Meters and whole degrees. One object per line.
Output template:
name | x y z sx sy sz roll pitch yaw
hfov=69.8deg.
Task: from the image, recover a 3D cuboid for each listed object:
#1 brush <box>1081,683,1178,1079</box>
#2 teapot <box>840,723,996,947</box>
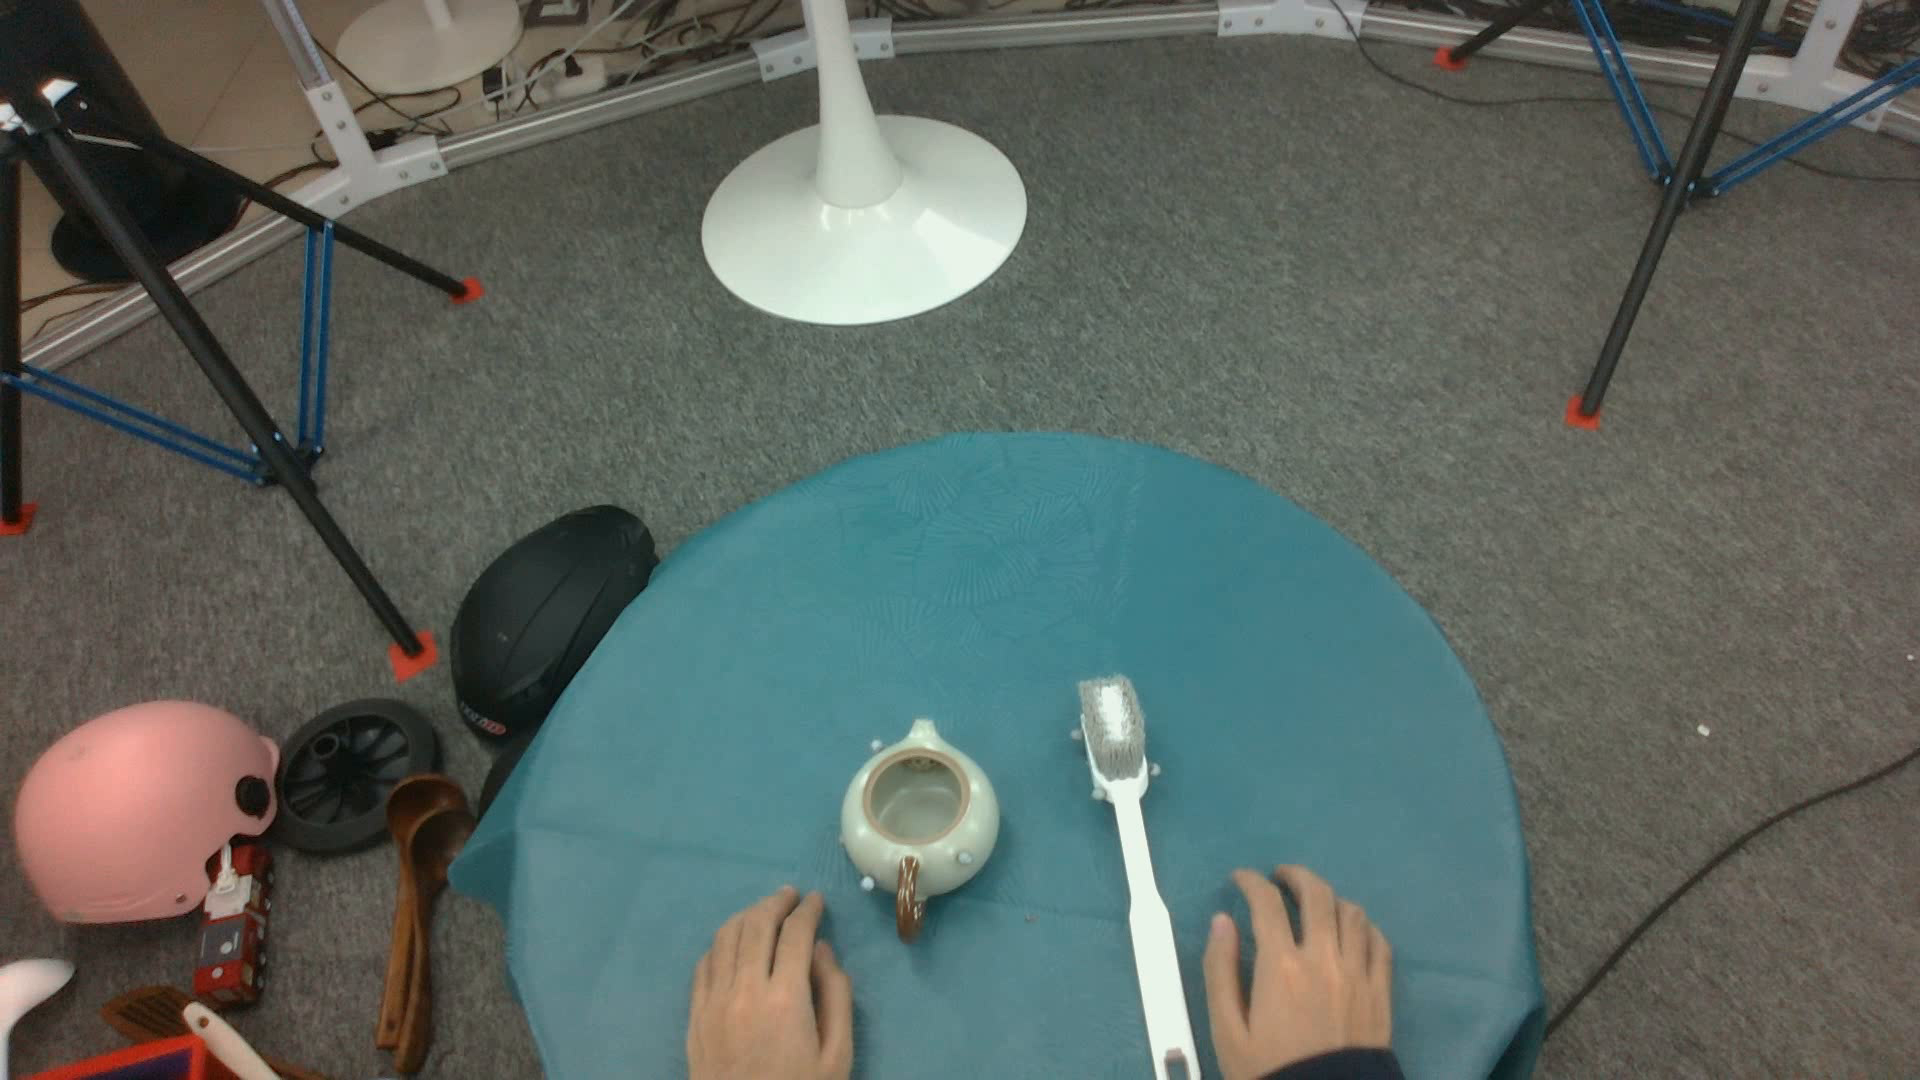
brush | 0.097 0.189 0.783 0.034 0.050 0.245 -2 51 -2
teapot | -0.025 0.173 0.802 0.092 0.059 0.128 0 51 3
